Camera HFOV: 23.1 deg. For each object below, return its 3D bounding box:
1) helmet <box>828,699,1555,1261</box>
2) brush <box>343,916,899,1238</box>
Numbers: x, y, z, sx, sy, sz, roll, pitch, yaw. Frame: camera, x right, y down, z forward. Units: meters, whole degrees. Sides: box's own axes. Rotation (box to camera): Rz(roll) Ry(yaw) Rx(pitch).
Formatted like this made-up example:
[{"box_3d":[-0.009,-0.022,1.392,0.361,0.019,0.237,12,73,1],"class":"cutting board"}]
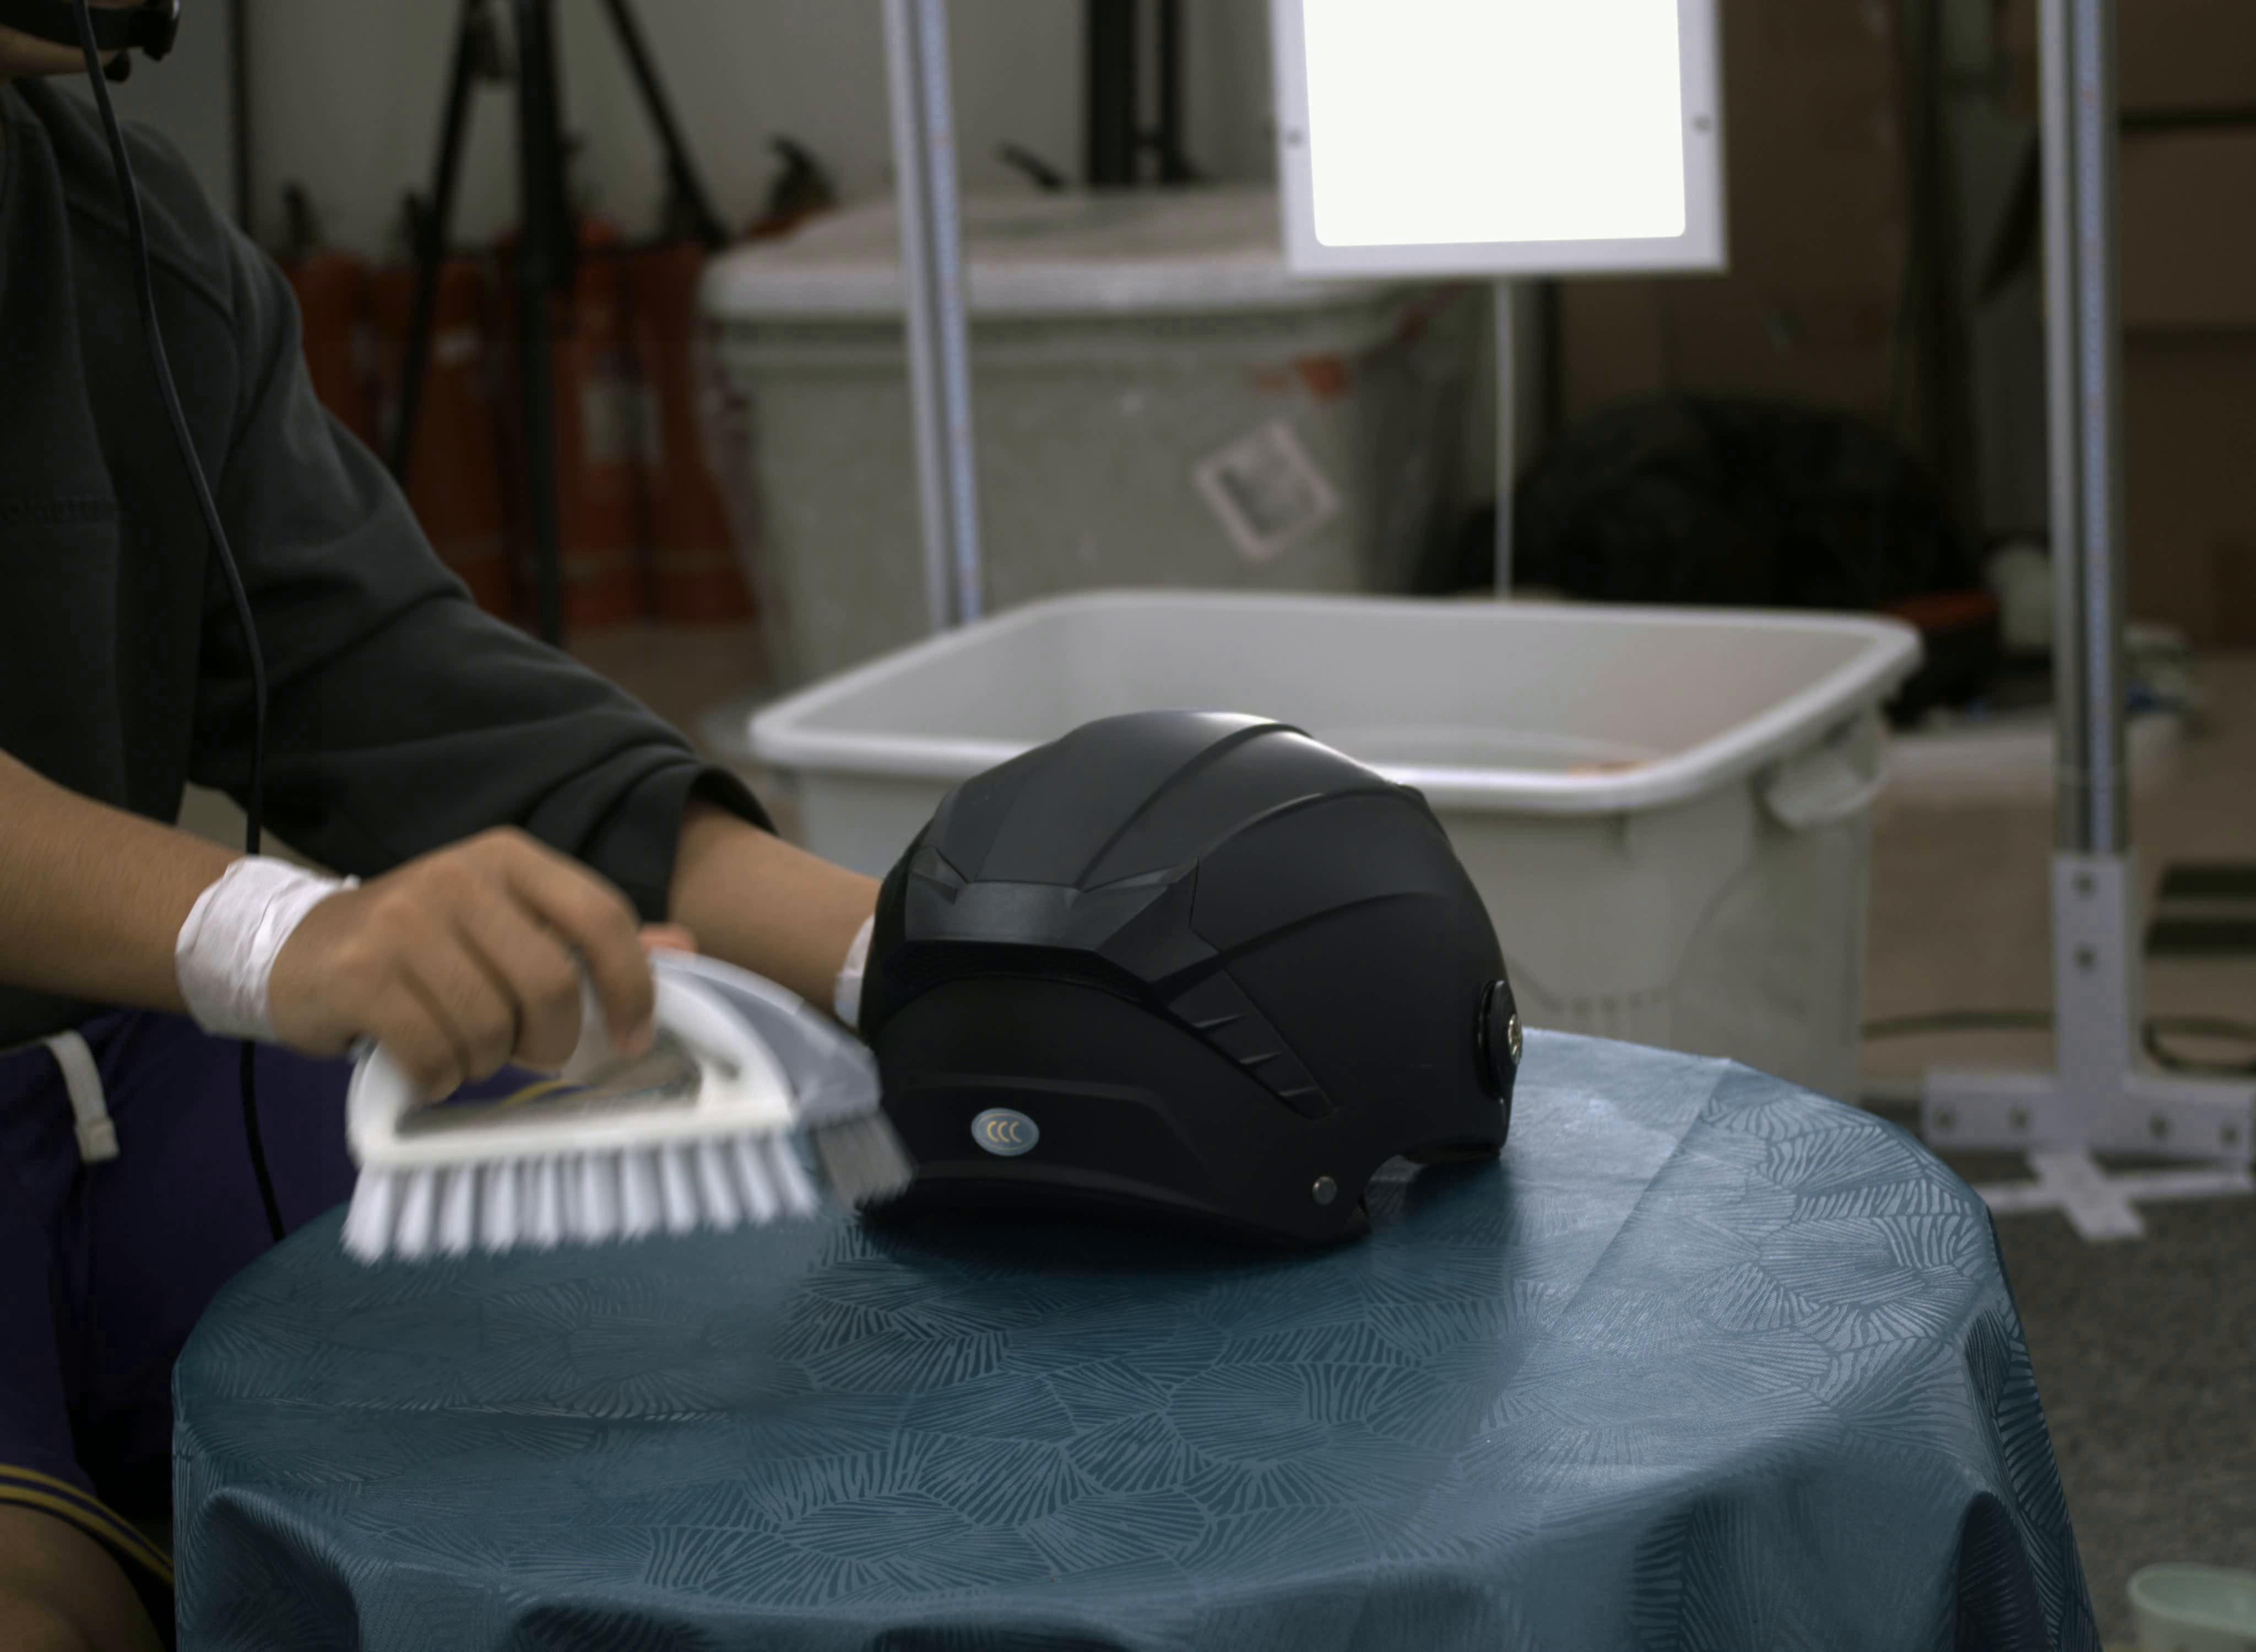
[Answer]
[{"box_3d":[0.018,0.042,1.900,0.251,0.173,0.271,3,20,28],"class":"helmet"},{"box_3d":[-0.157,0.073,1.717,0.173,0.094,0.062,-3,9,-11],"class":"brush"}]
